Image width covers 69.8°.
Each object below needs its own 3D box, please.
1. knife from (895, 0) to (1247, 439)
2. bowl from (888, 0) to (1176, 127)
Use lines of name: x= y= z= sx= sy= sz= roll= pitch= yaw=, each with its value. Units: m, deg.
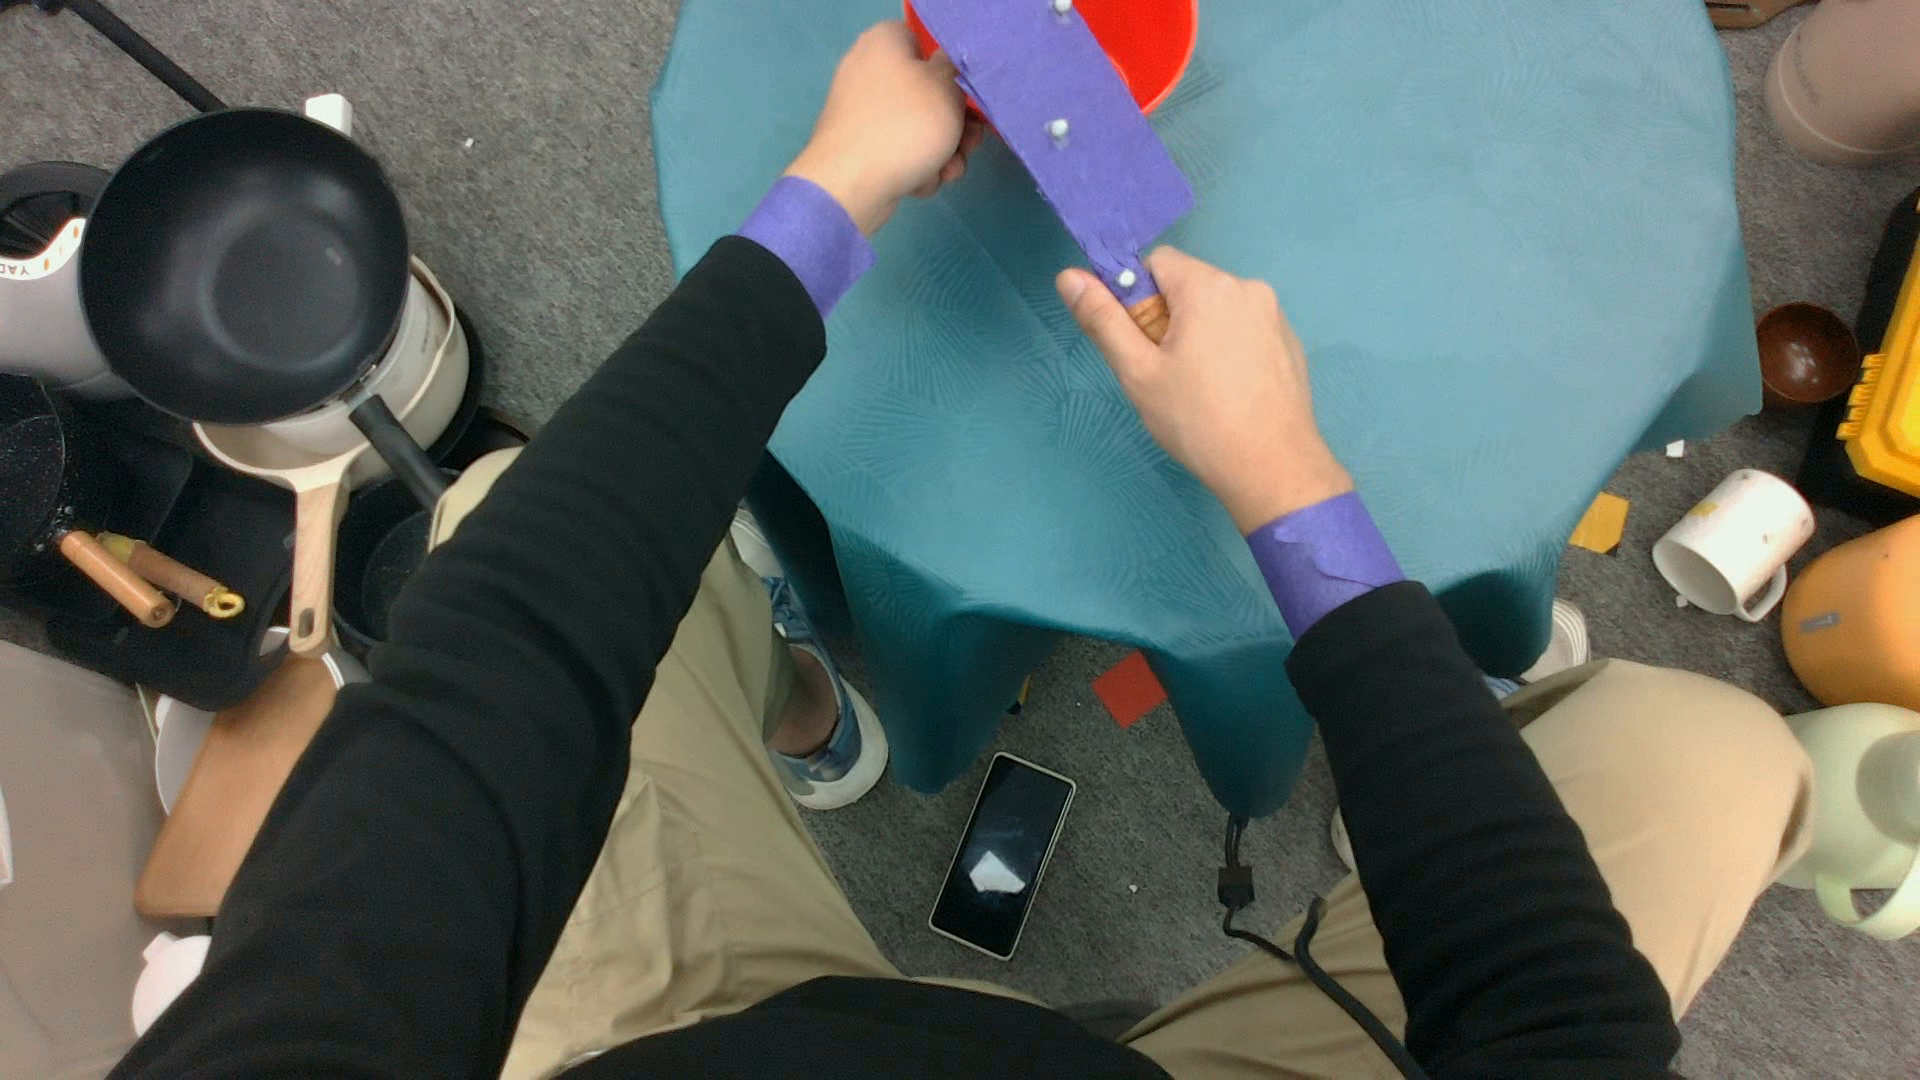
knife: x=0.054 y=-0.197 z=0.657 sx=0.104 sy=0.032 sz=0.315 roll=-44 pitch=103 yaw=-32
bowl: x=0.038 y=-0.272 z=0.733 sx=0.148 sy=0.104 sz=0.148 roll=-1 pitch=75 yaw=2
